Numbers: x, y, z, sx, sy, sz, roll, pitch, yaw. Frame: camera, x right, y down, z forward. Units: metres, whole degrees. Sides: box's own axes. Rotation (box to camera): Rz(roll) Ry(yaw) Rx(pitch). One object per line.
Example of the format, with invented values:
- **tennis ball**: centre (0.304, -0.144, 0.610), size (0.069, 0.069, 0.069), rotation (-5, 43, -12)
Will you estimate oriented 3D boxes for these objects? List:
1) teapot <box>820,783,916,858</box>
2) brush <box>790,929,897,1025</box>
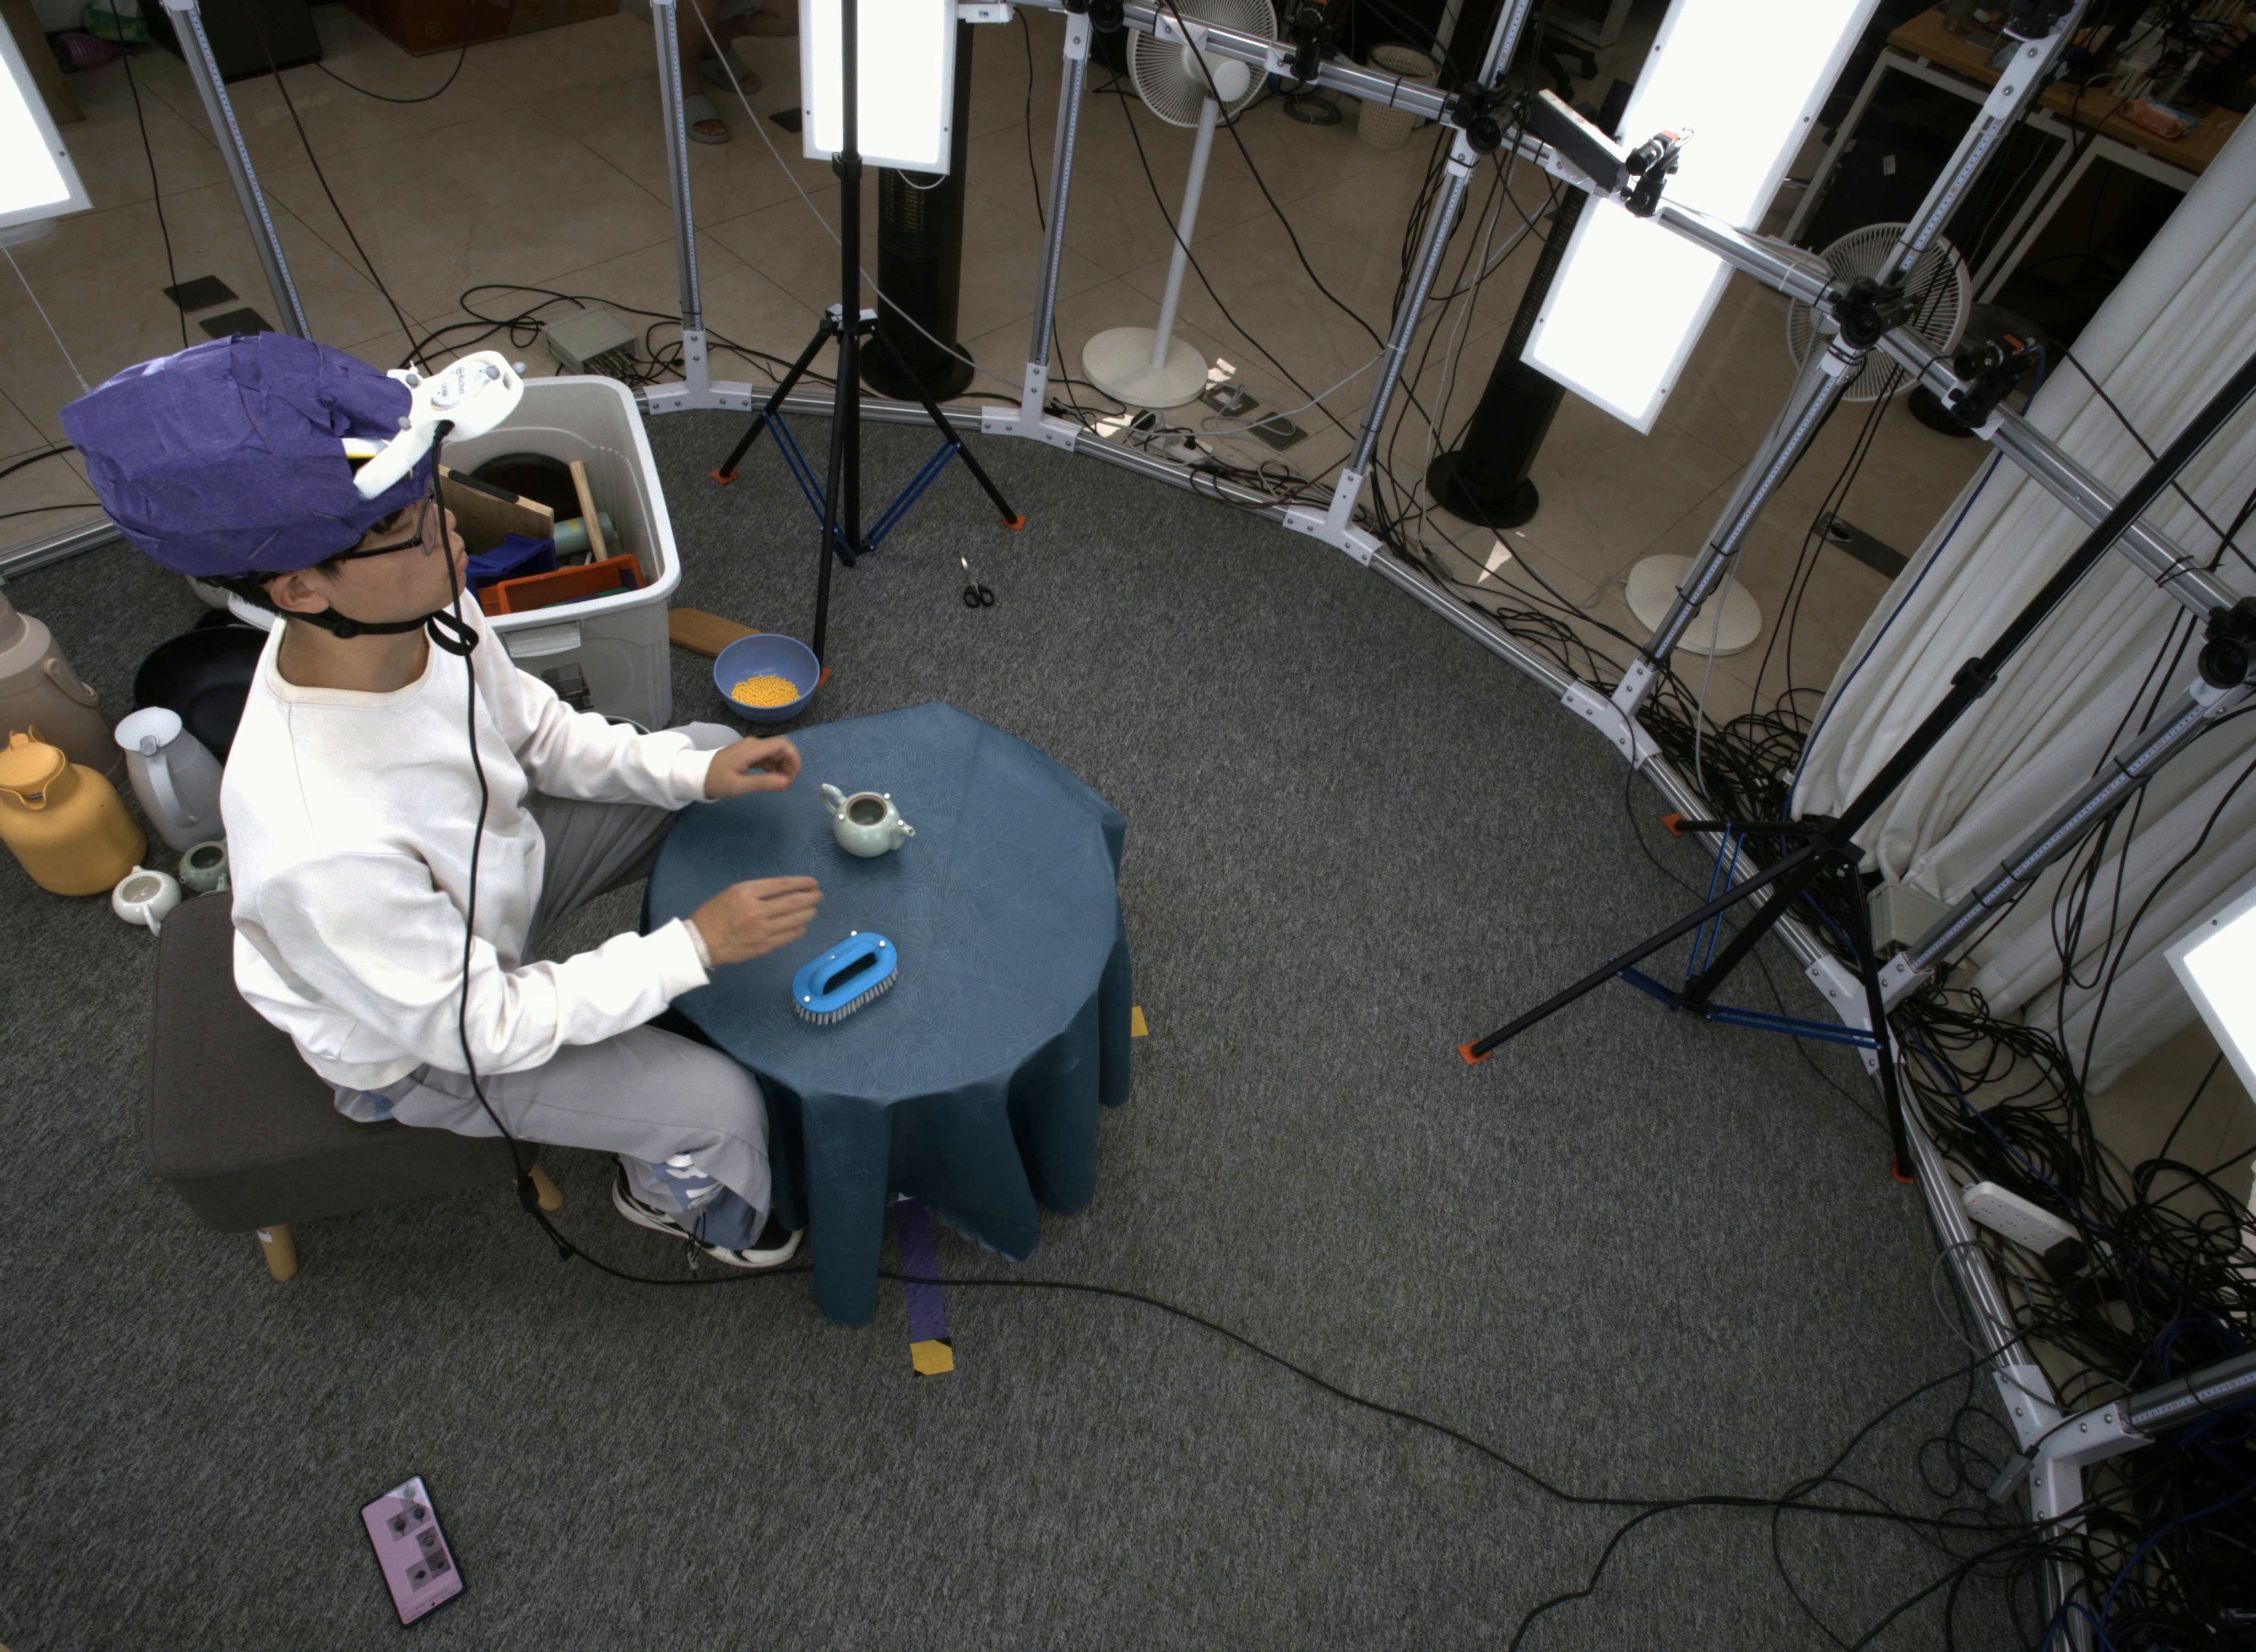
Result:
- **teapot**: centre (-0.343, -0.004, 1.711), size (0.142, 0.076, 0.088), rotation (29, 54, 7)
- **brush**: centre (-0.344, 0.176, 1.581), size (0.142, 0.065, 0.083), rotation (-33, 70, -30)
